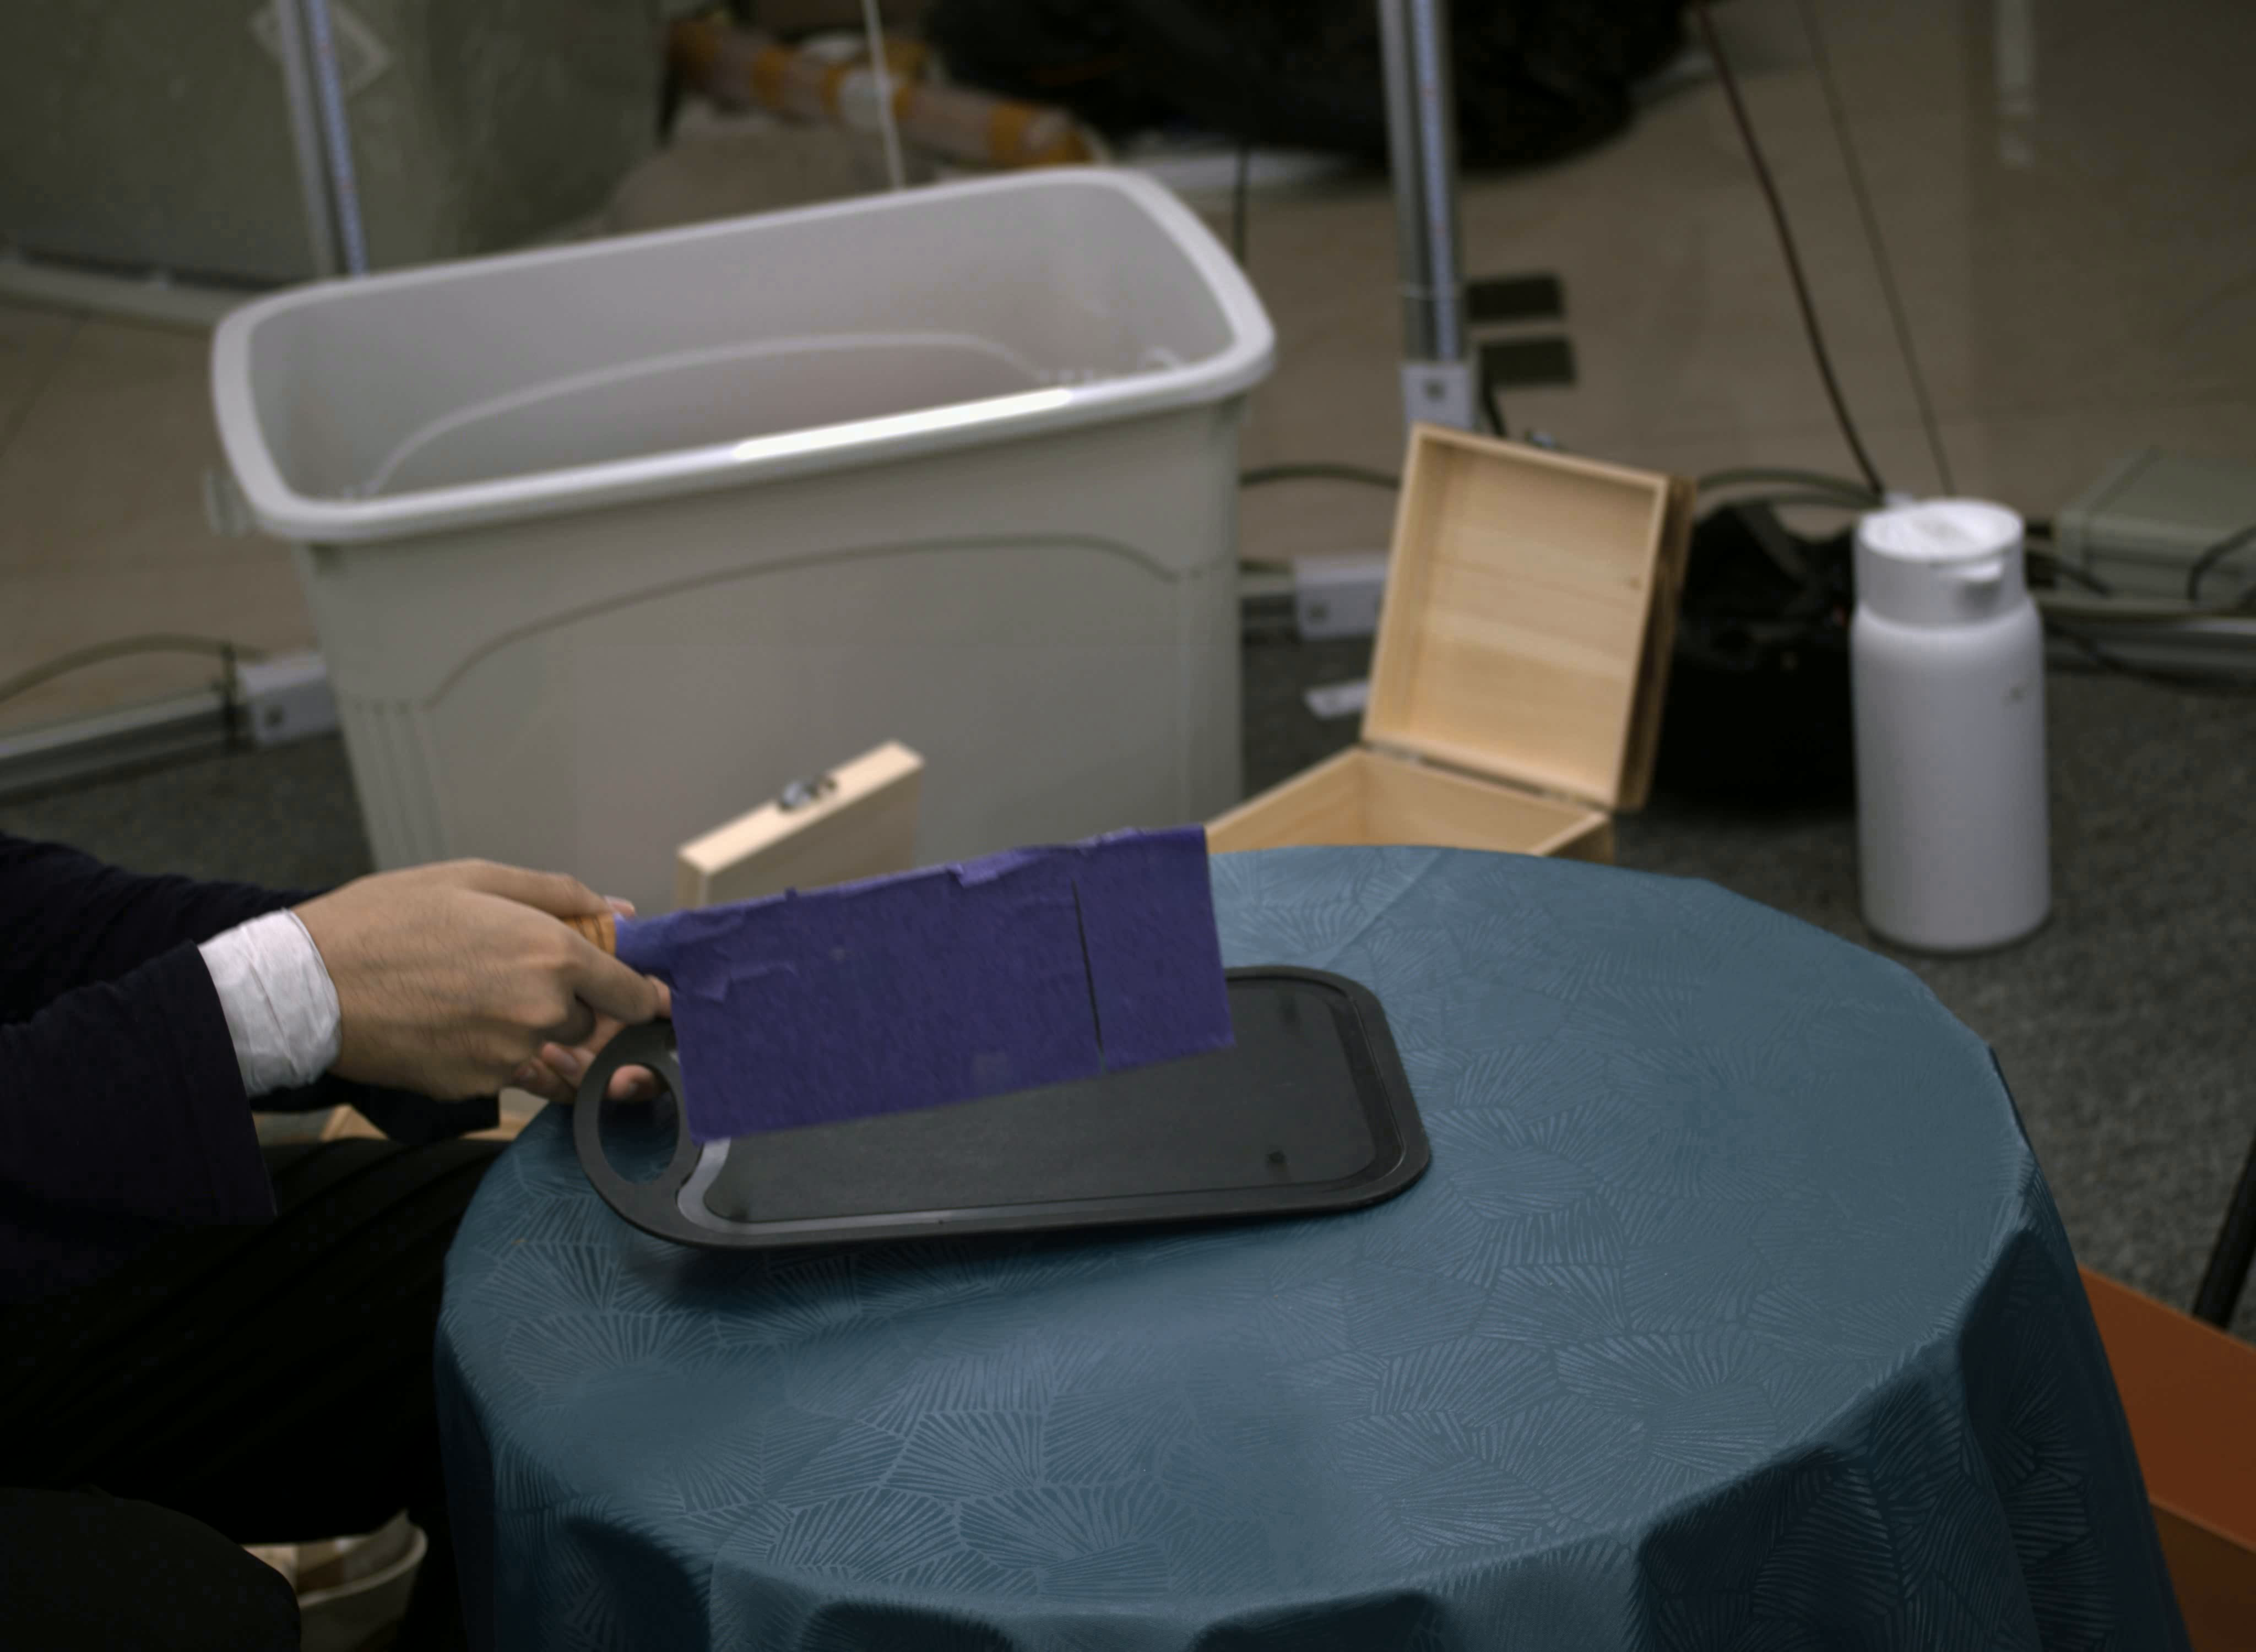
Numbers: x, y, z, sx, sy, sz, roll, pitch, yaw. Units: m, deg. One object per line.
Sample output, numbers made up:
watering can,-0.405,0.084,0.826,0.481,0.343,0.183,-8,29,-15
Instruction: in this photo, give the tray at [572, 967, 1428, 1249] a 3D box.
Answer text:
tray,-0.053,0.106,2.196,0.325,0.010,0.208,-3,25,-5

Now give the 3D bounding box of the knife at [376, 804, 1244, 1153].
knife,-0.112,0.069,2.065,0.314,0.105,0.032,-10,15,-8
